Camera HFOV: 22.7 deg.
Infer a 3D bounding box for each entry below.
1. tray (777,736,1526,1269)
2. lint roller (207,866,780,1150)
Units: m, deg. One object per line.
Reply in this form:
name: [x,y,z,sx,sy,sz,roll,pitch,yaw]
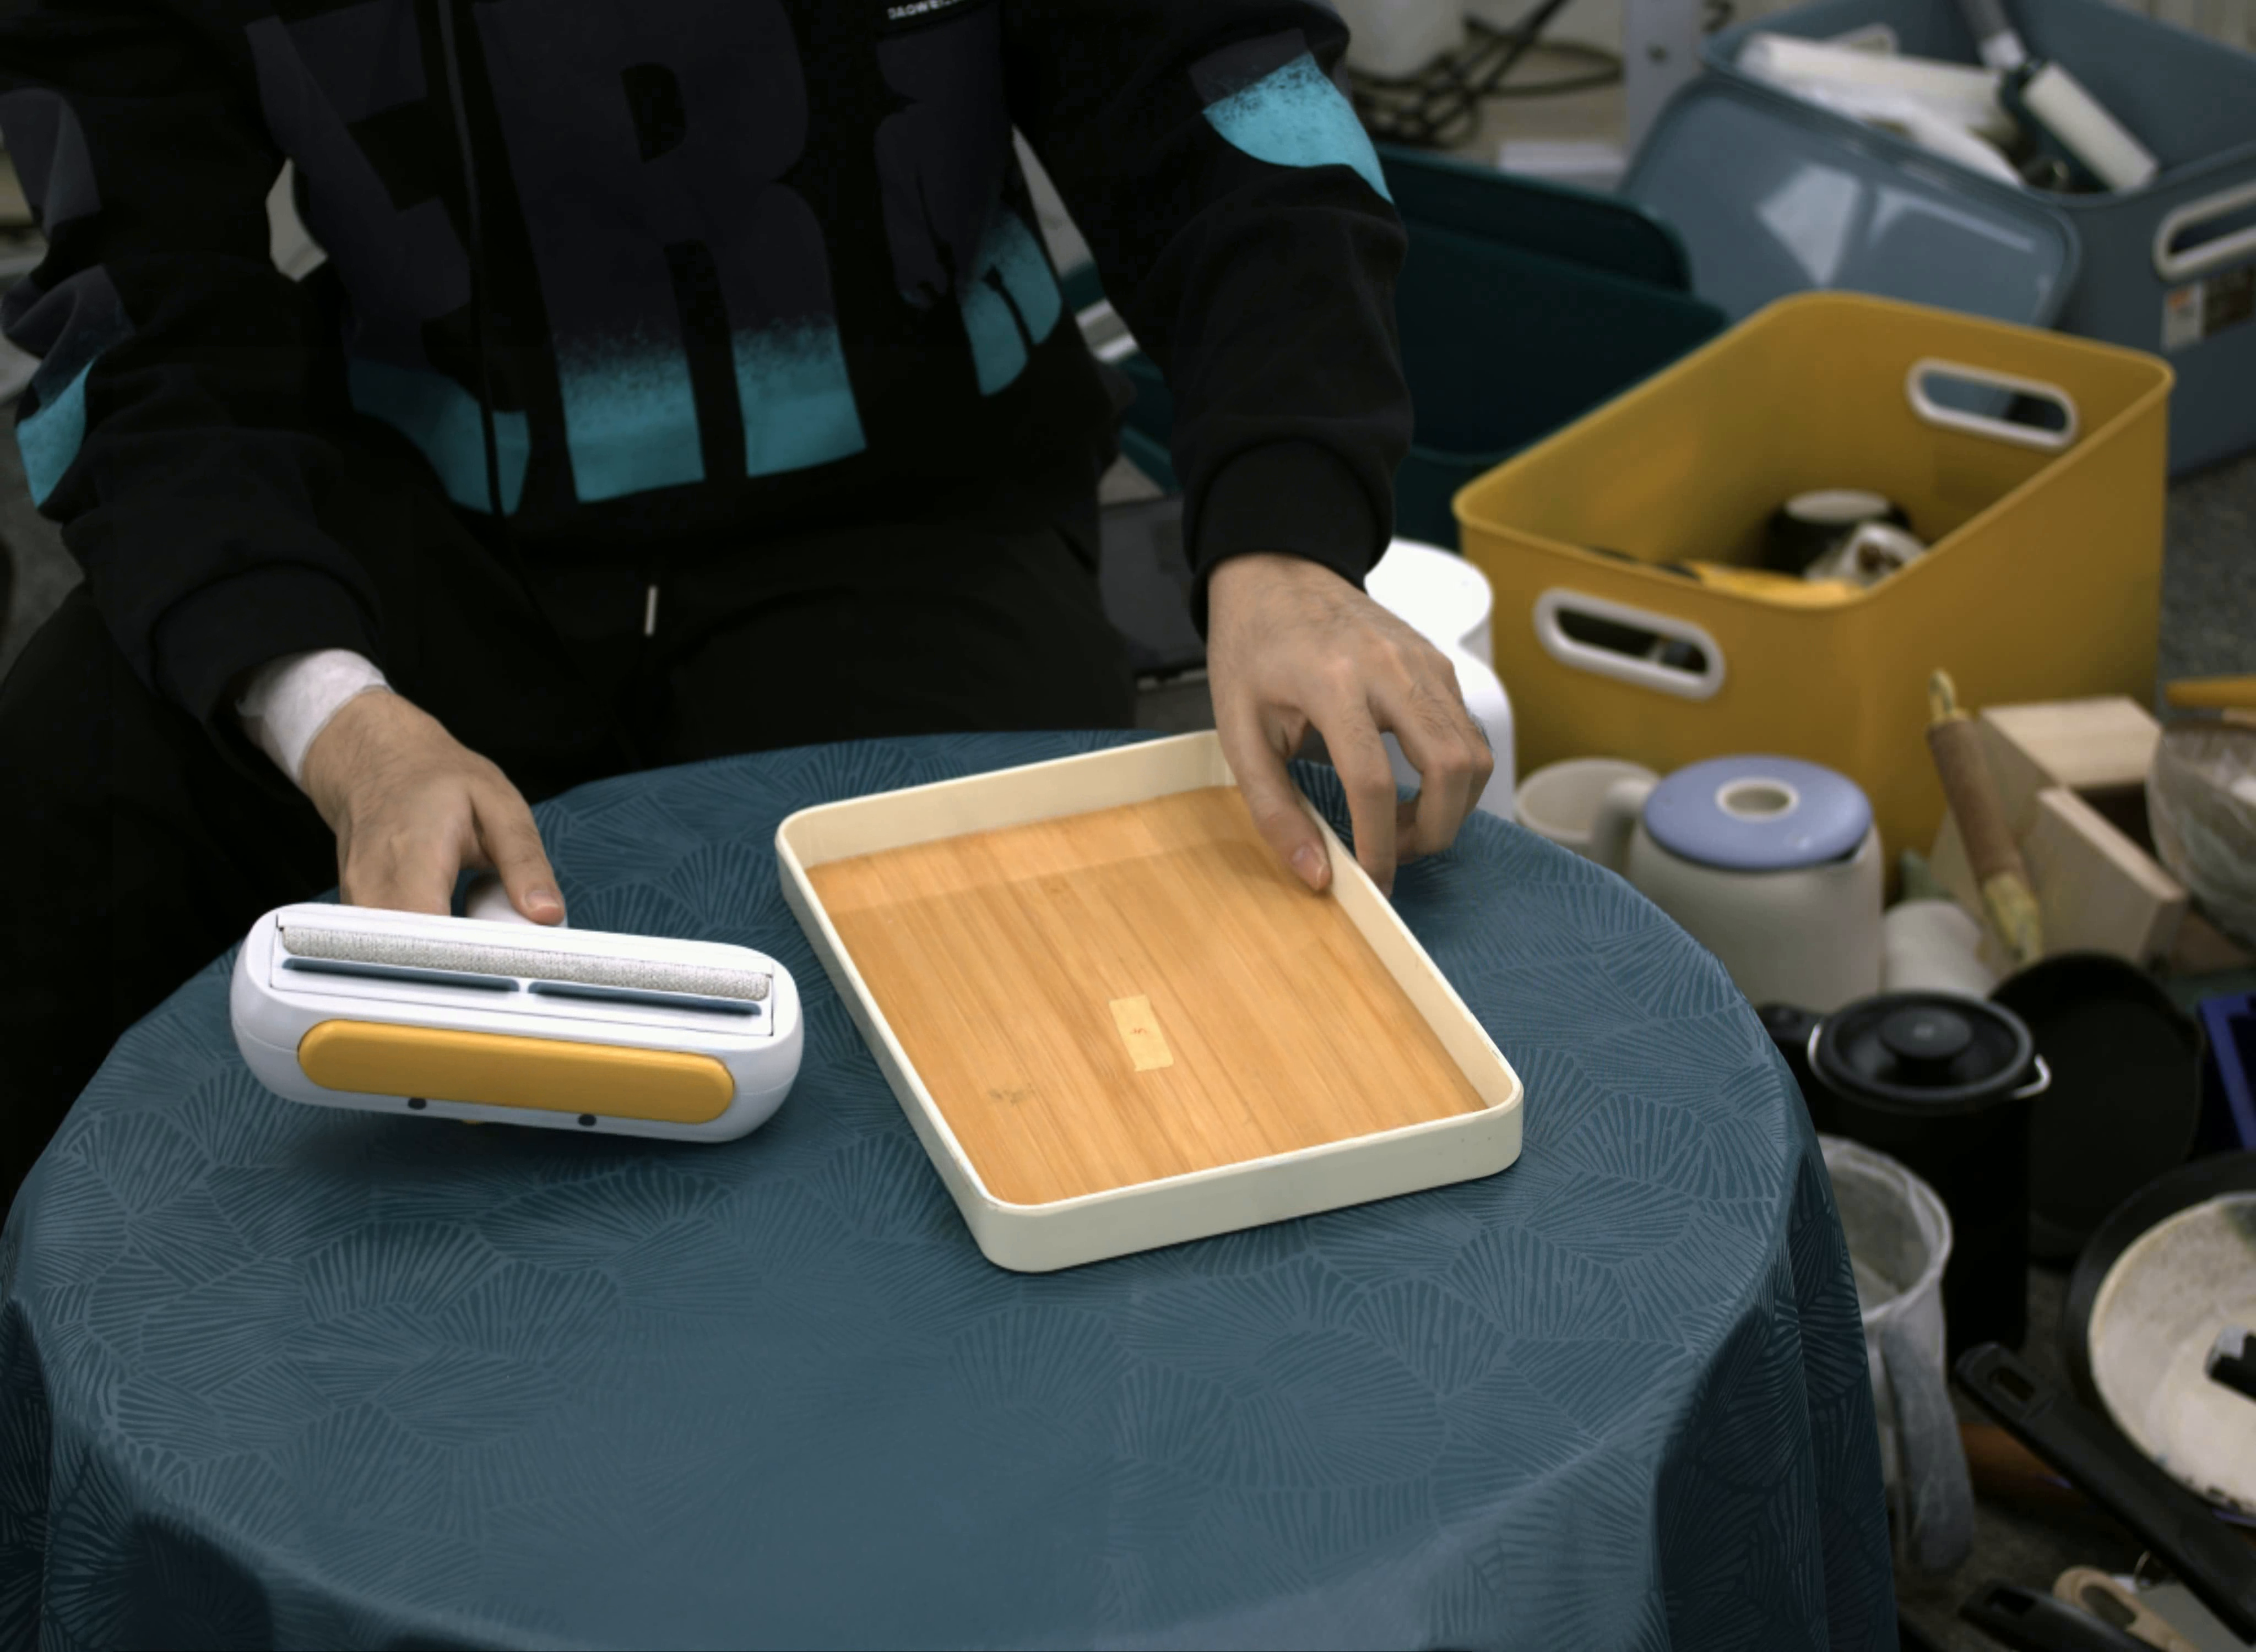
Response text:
tray: [0.002,0.056,1.957,0.192,0.027,0.303,-10,28,-15]
lint roller: [-0.216,0.048,1.951,0.192,0.073,0.195,4,25,-4]
